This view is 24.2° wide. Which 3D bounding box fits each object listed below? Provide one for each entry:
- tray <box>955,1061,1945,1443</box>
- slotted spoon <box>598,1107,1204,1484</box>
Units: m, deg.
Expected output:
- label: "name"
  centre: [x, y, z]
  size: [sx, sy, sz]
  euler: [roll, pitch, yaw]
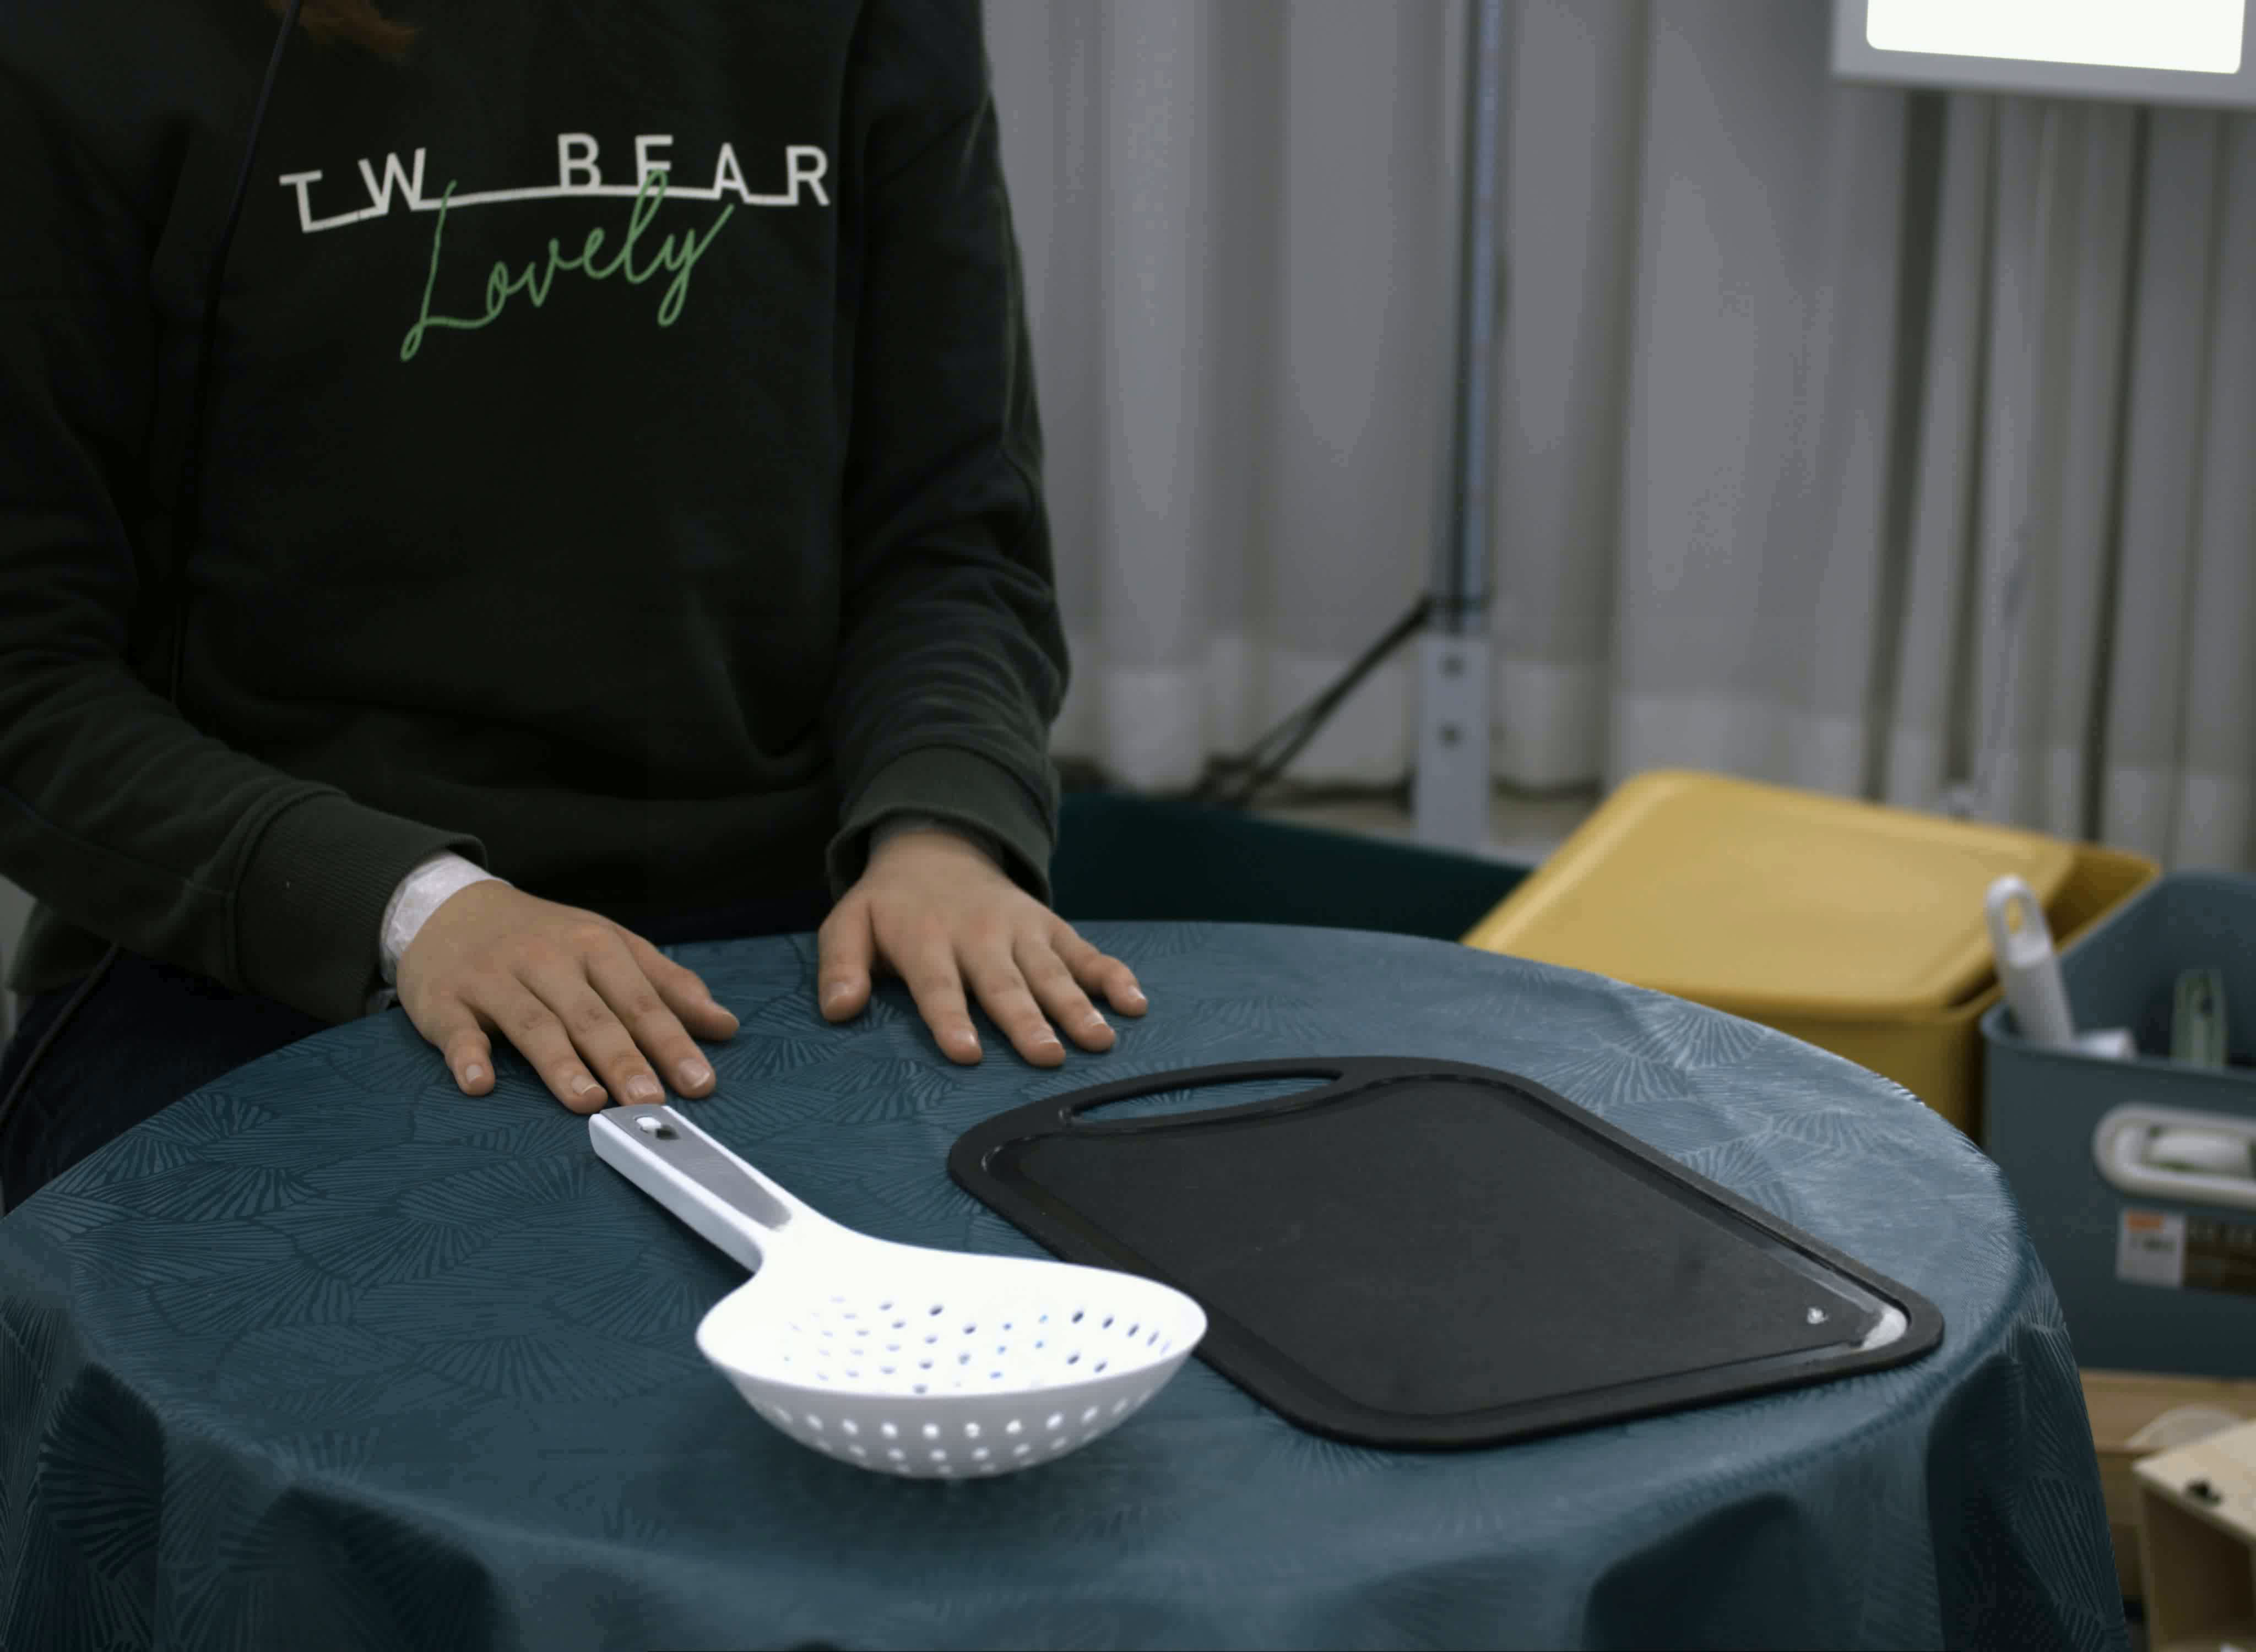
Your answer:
- label: "tray"
  centre: [0.086, 0.120, 1.590]
  size: [0.212, 0.010, 0.321]
  euler: [-7, 17, -26]
- label: "slotted spoon"
  centre: [-0.089, 0.124, 1.500]
  size: [0.136, 0.046, 0.345]
  euler: [-4, 15, -23]
